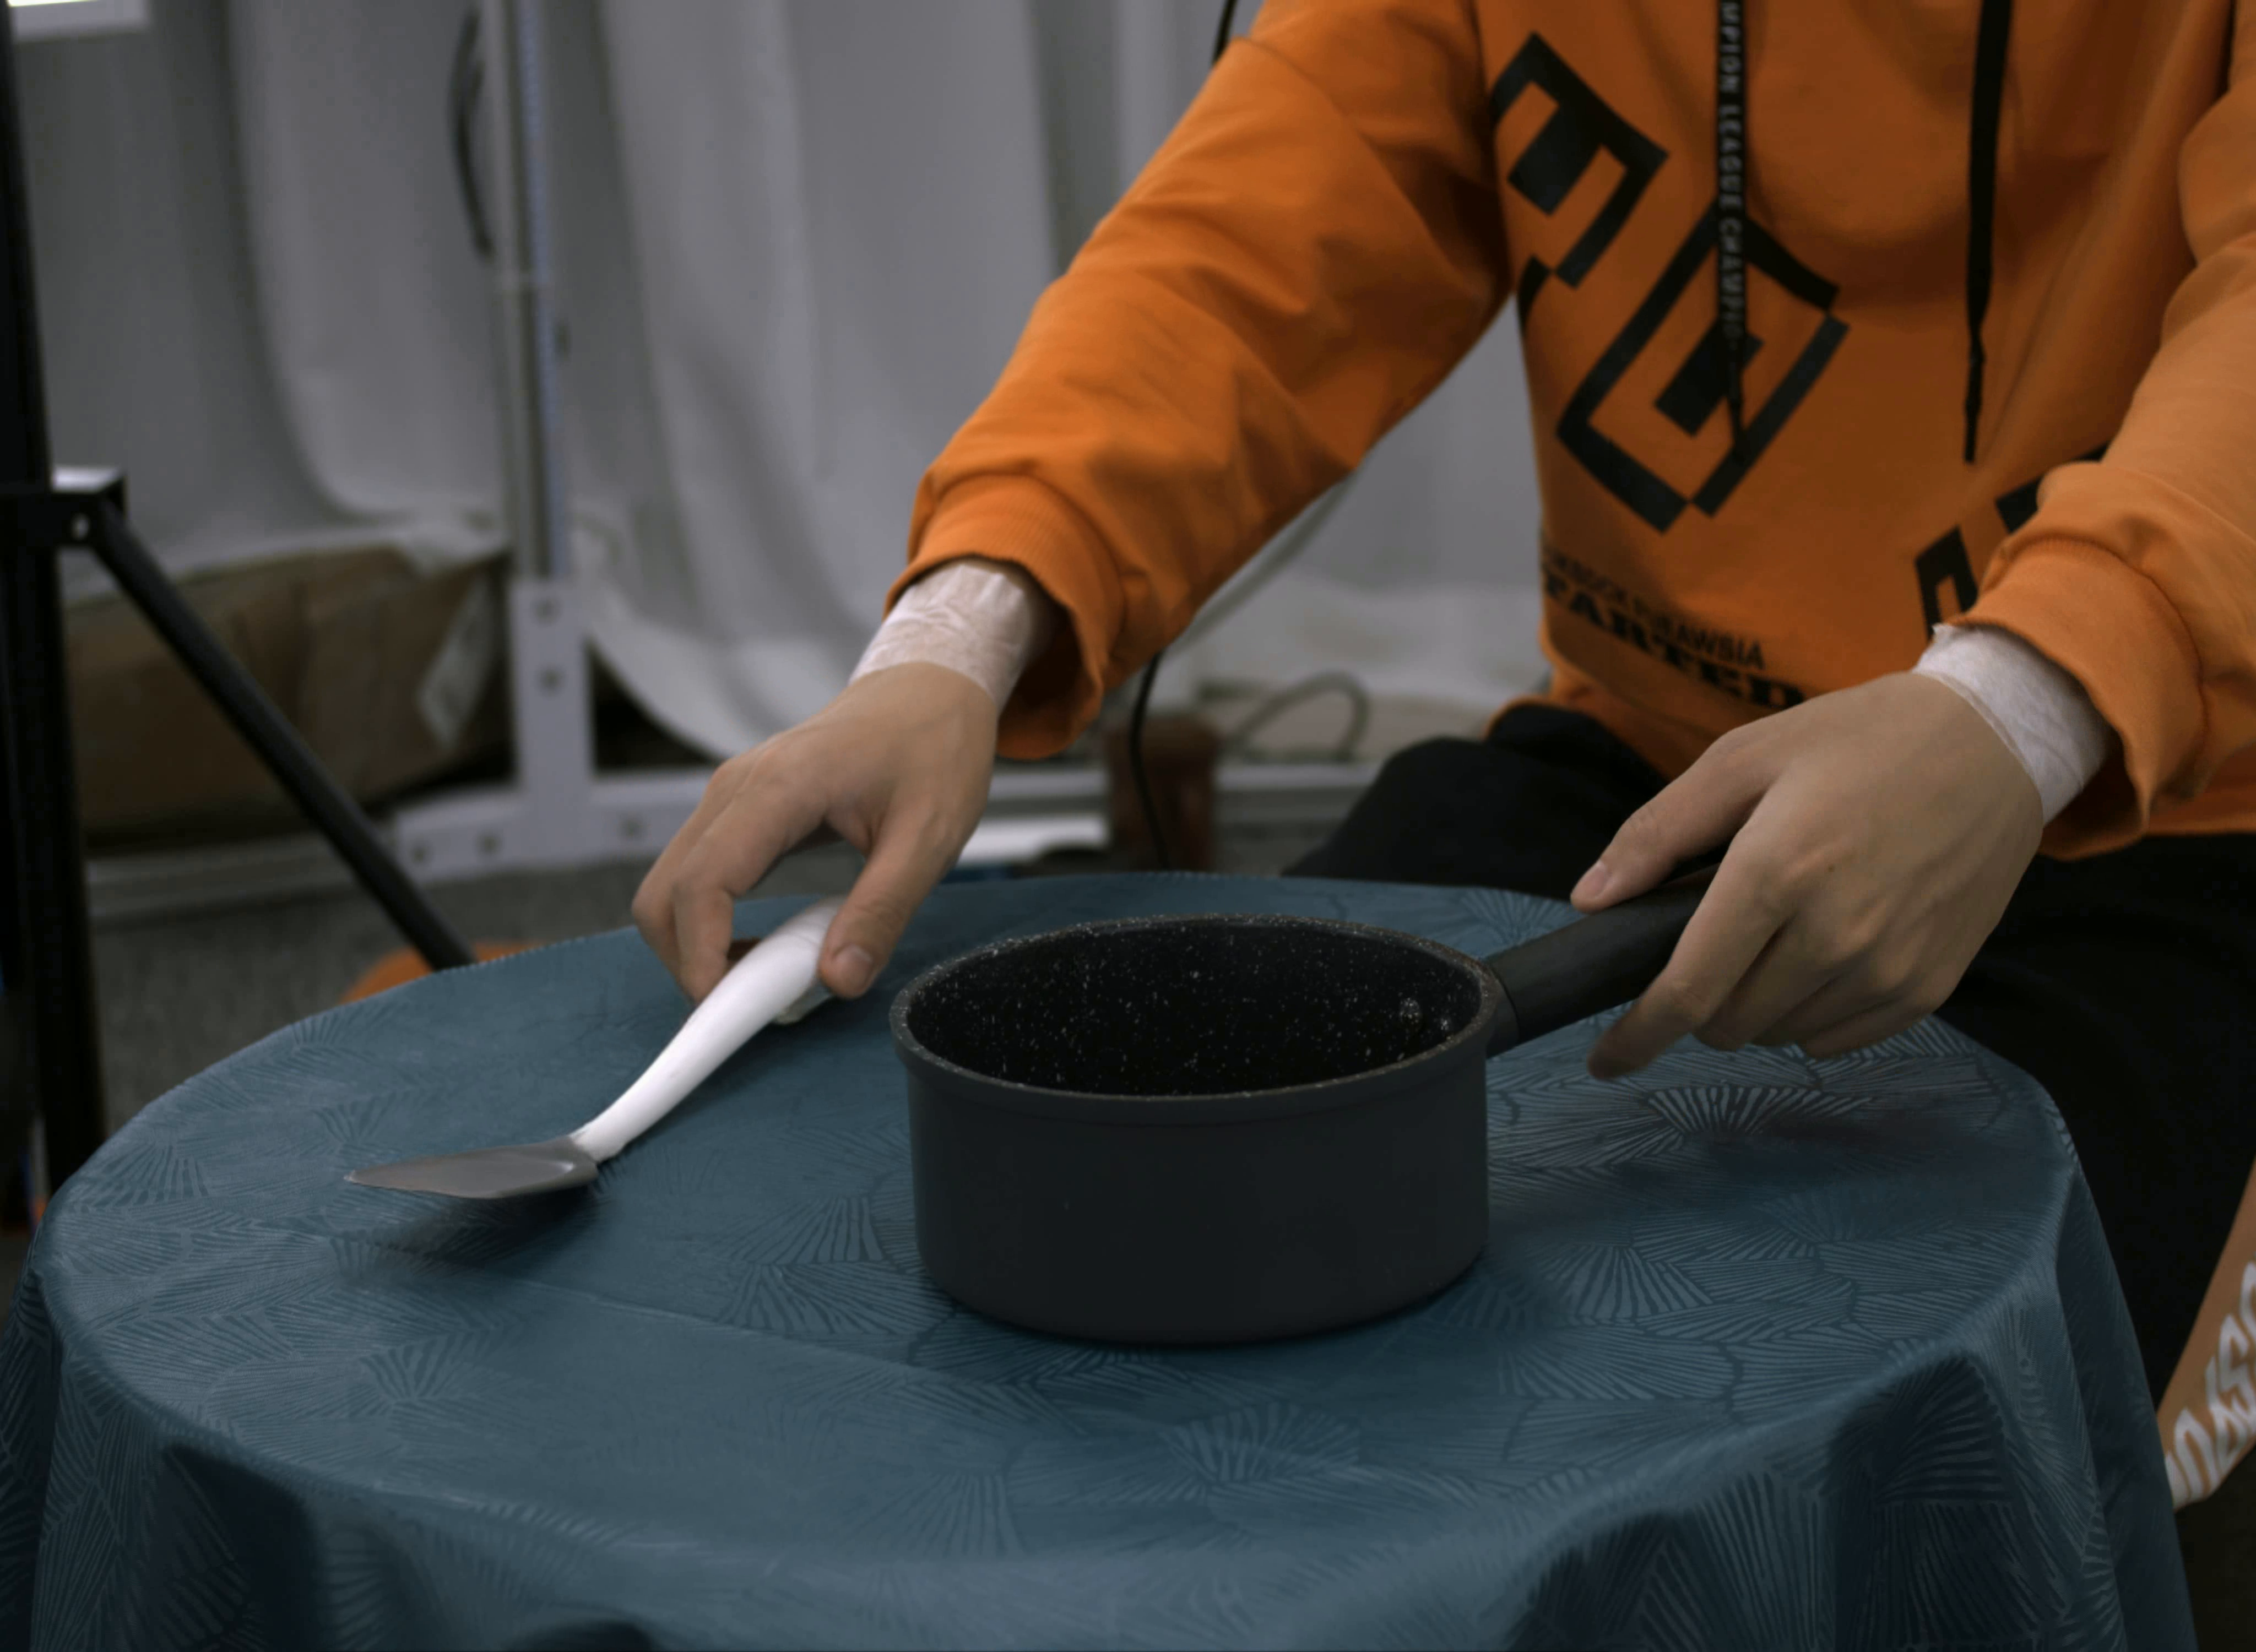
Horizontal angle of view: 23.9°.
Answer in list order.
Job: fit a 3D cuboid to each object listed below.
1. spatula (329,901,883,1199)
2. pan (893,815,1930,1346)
[{"bbox_3d":[-0.150,0.076,1.639,0.059,0.032,0.283,8,18,22],"label":"spatula"},{"bbox_3d":[0.090,0.068,1.527,0.322,0.086,0.175,-12,18,-24],"label":"pan"}]
